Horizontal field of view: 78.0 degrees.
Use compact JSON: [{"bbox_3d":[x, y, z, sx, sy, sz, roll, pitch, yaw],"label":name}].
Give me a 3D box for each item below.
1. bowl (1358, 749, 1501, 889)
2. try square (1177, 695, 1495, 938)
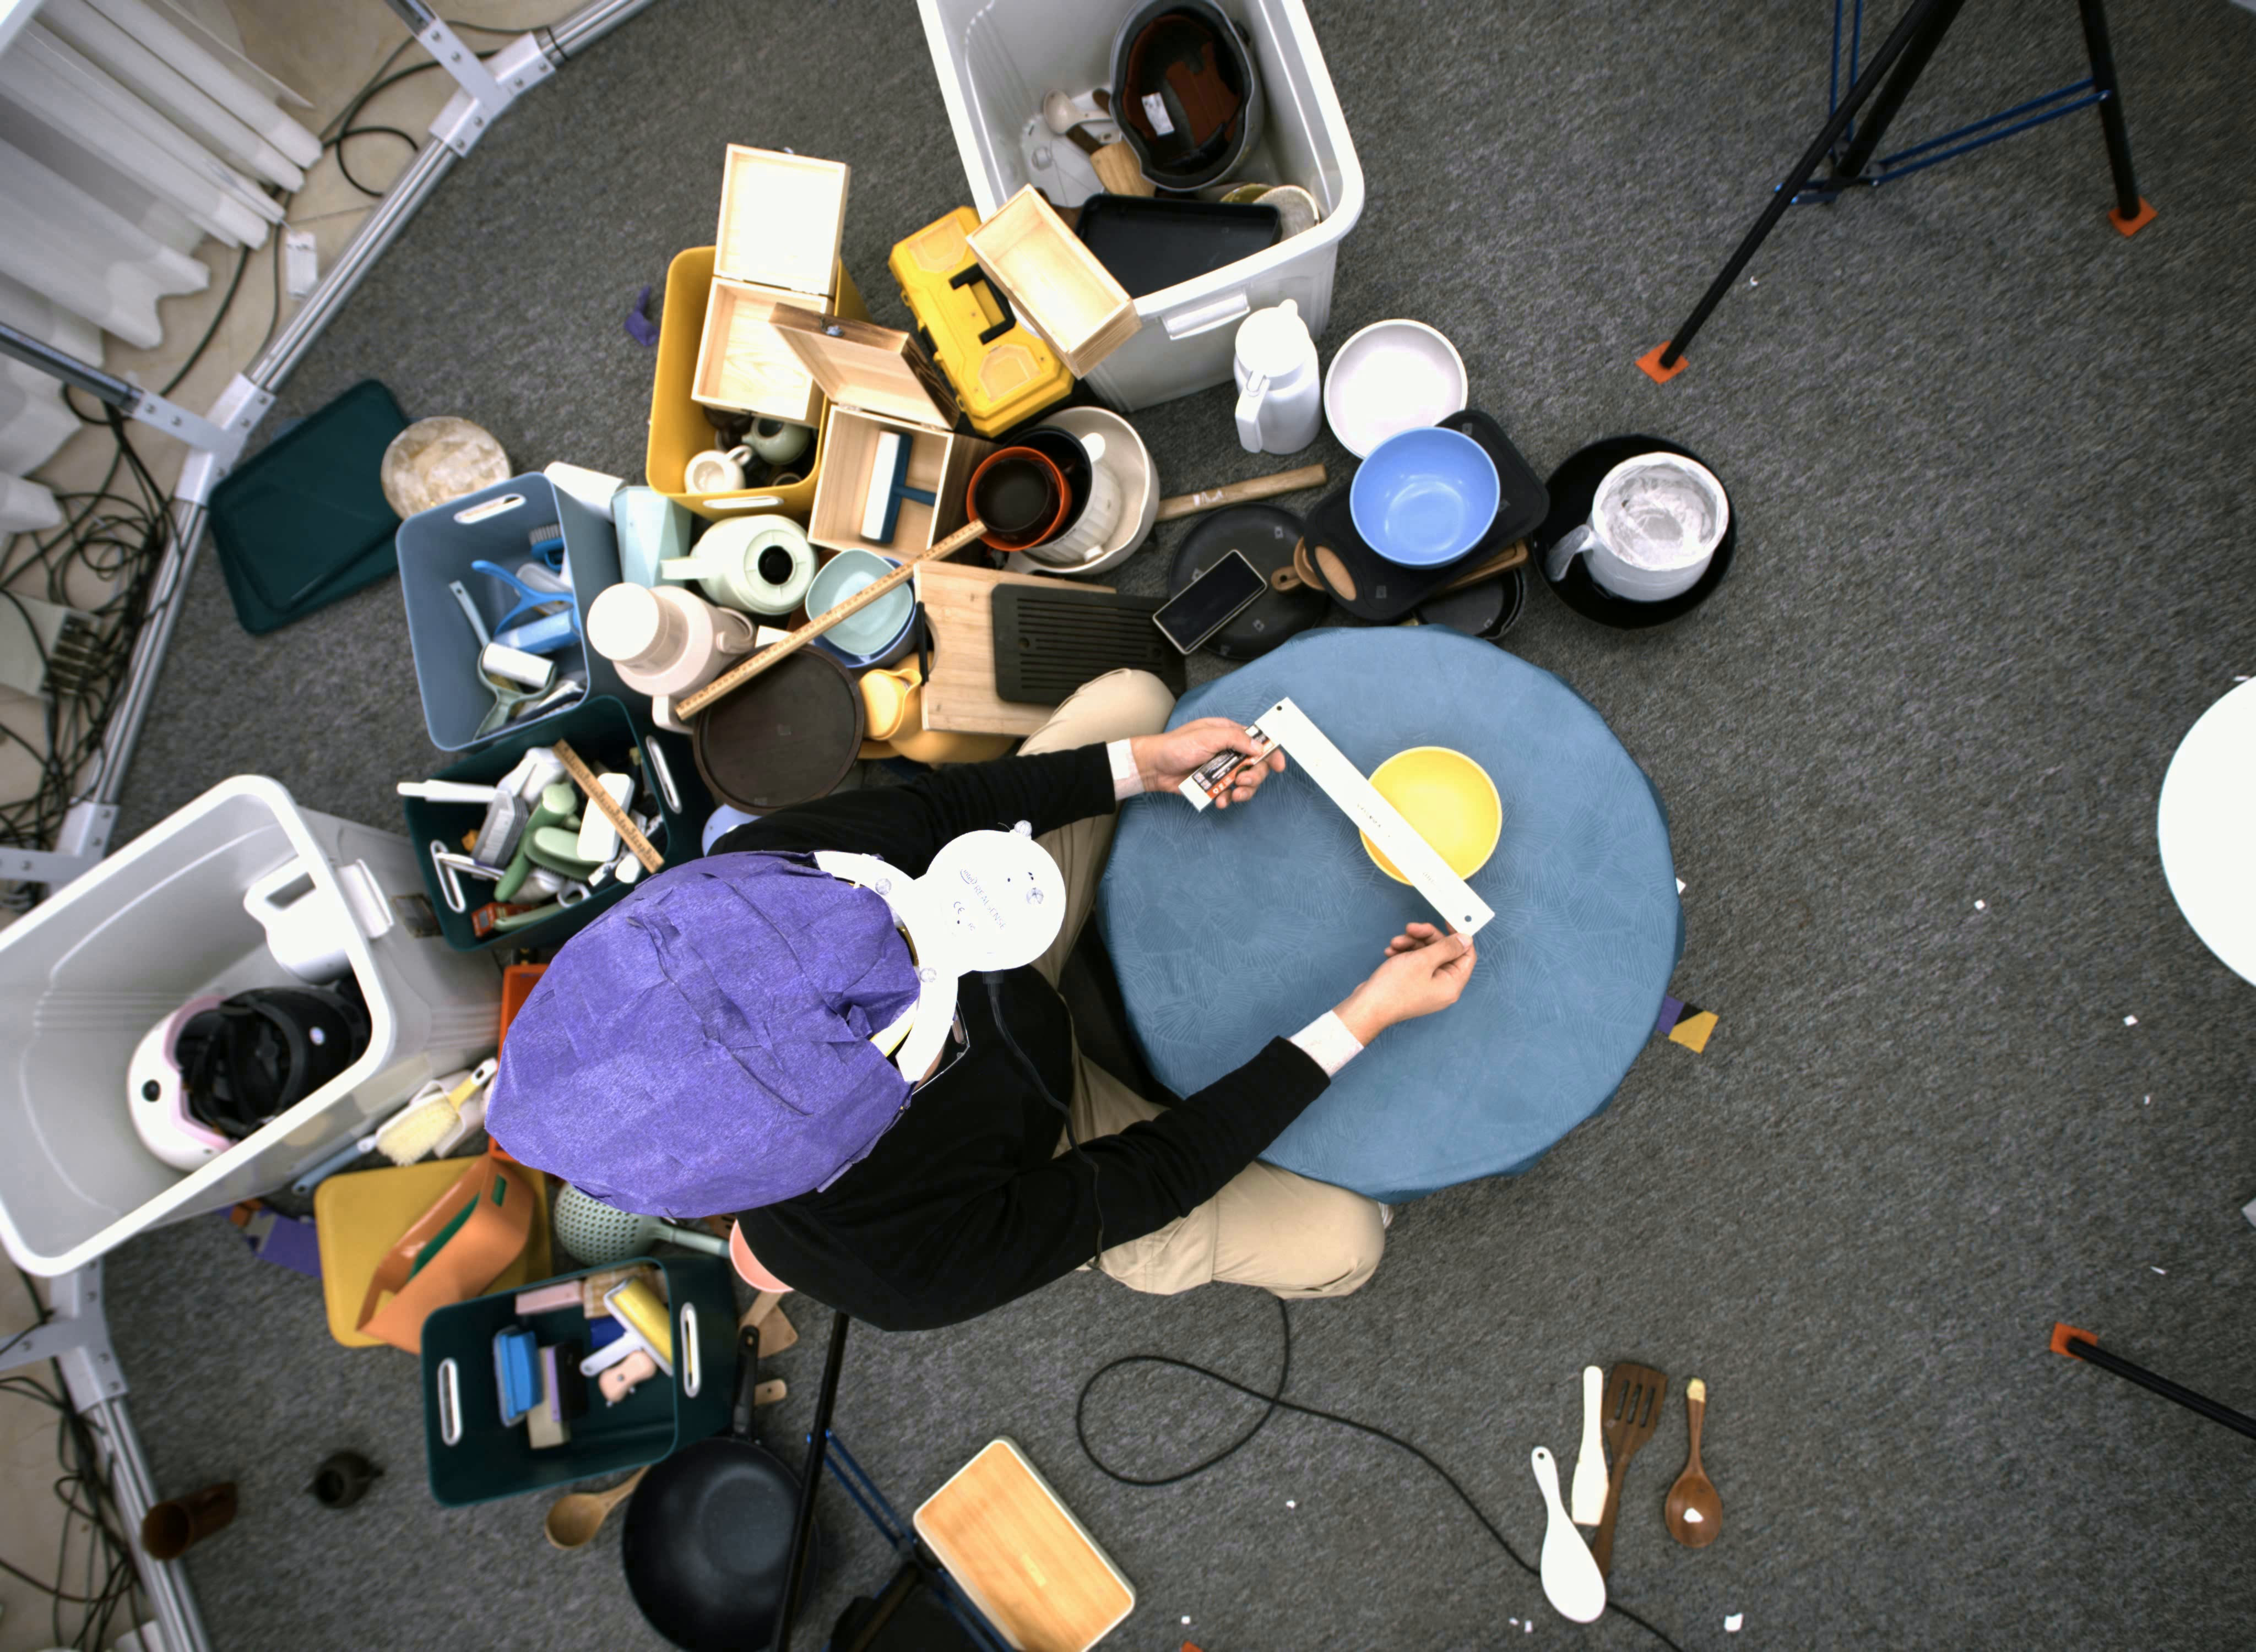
[{"bbox_3d":[0.312,-0.005,1.428,0.146,0.060,0.144,-2,84,13],"label":"bowl"},{"bbox_3d":[0.208,0.021,1.402,0.152,0.016,0.311,-41,78,-3],"label":"try square"}]
